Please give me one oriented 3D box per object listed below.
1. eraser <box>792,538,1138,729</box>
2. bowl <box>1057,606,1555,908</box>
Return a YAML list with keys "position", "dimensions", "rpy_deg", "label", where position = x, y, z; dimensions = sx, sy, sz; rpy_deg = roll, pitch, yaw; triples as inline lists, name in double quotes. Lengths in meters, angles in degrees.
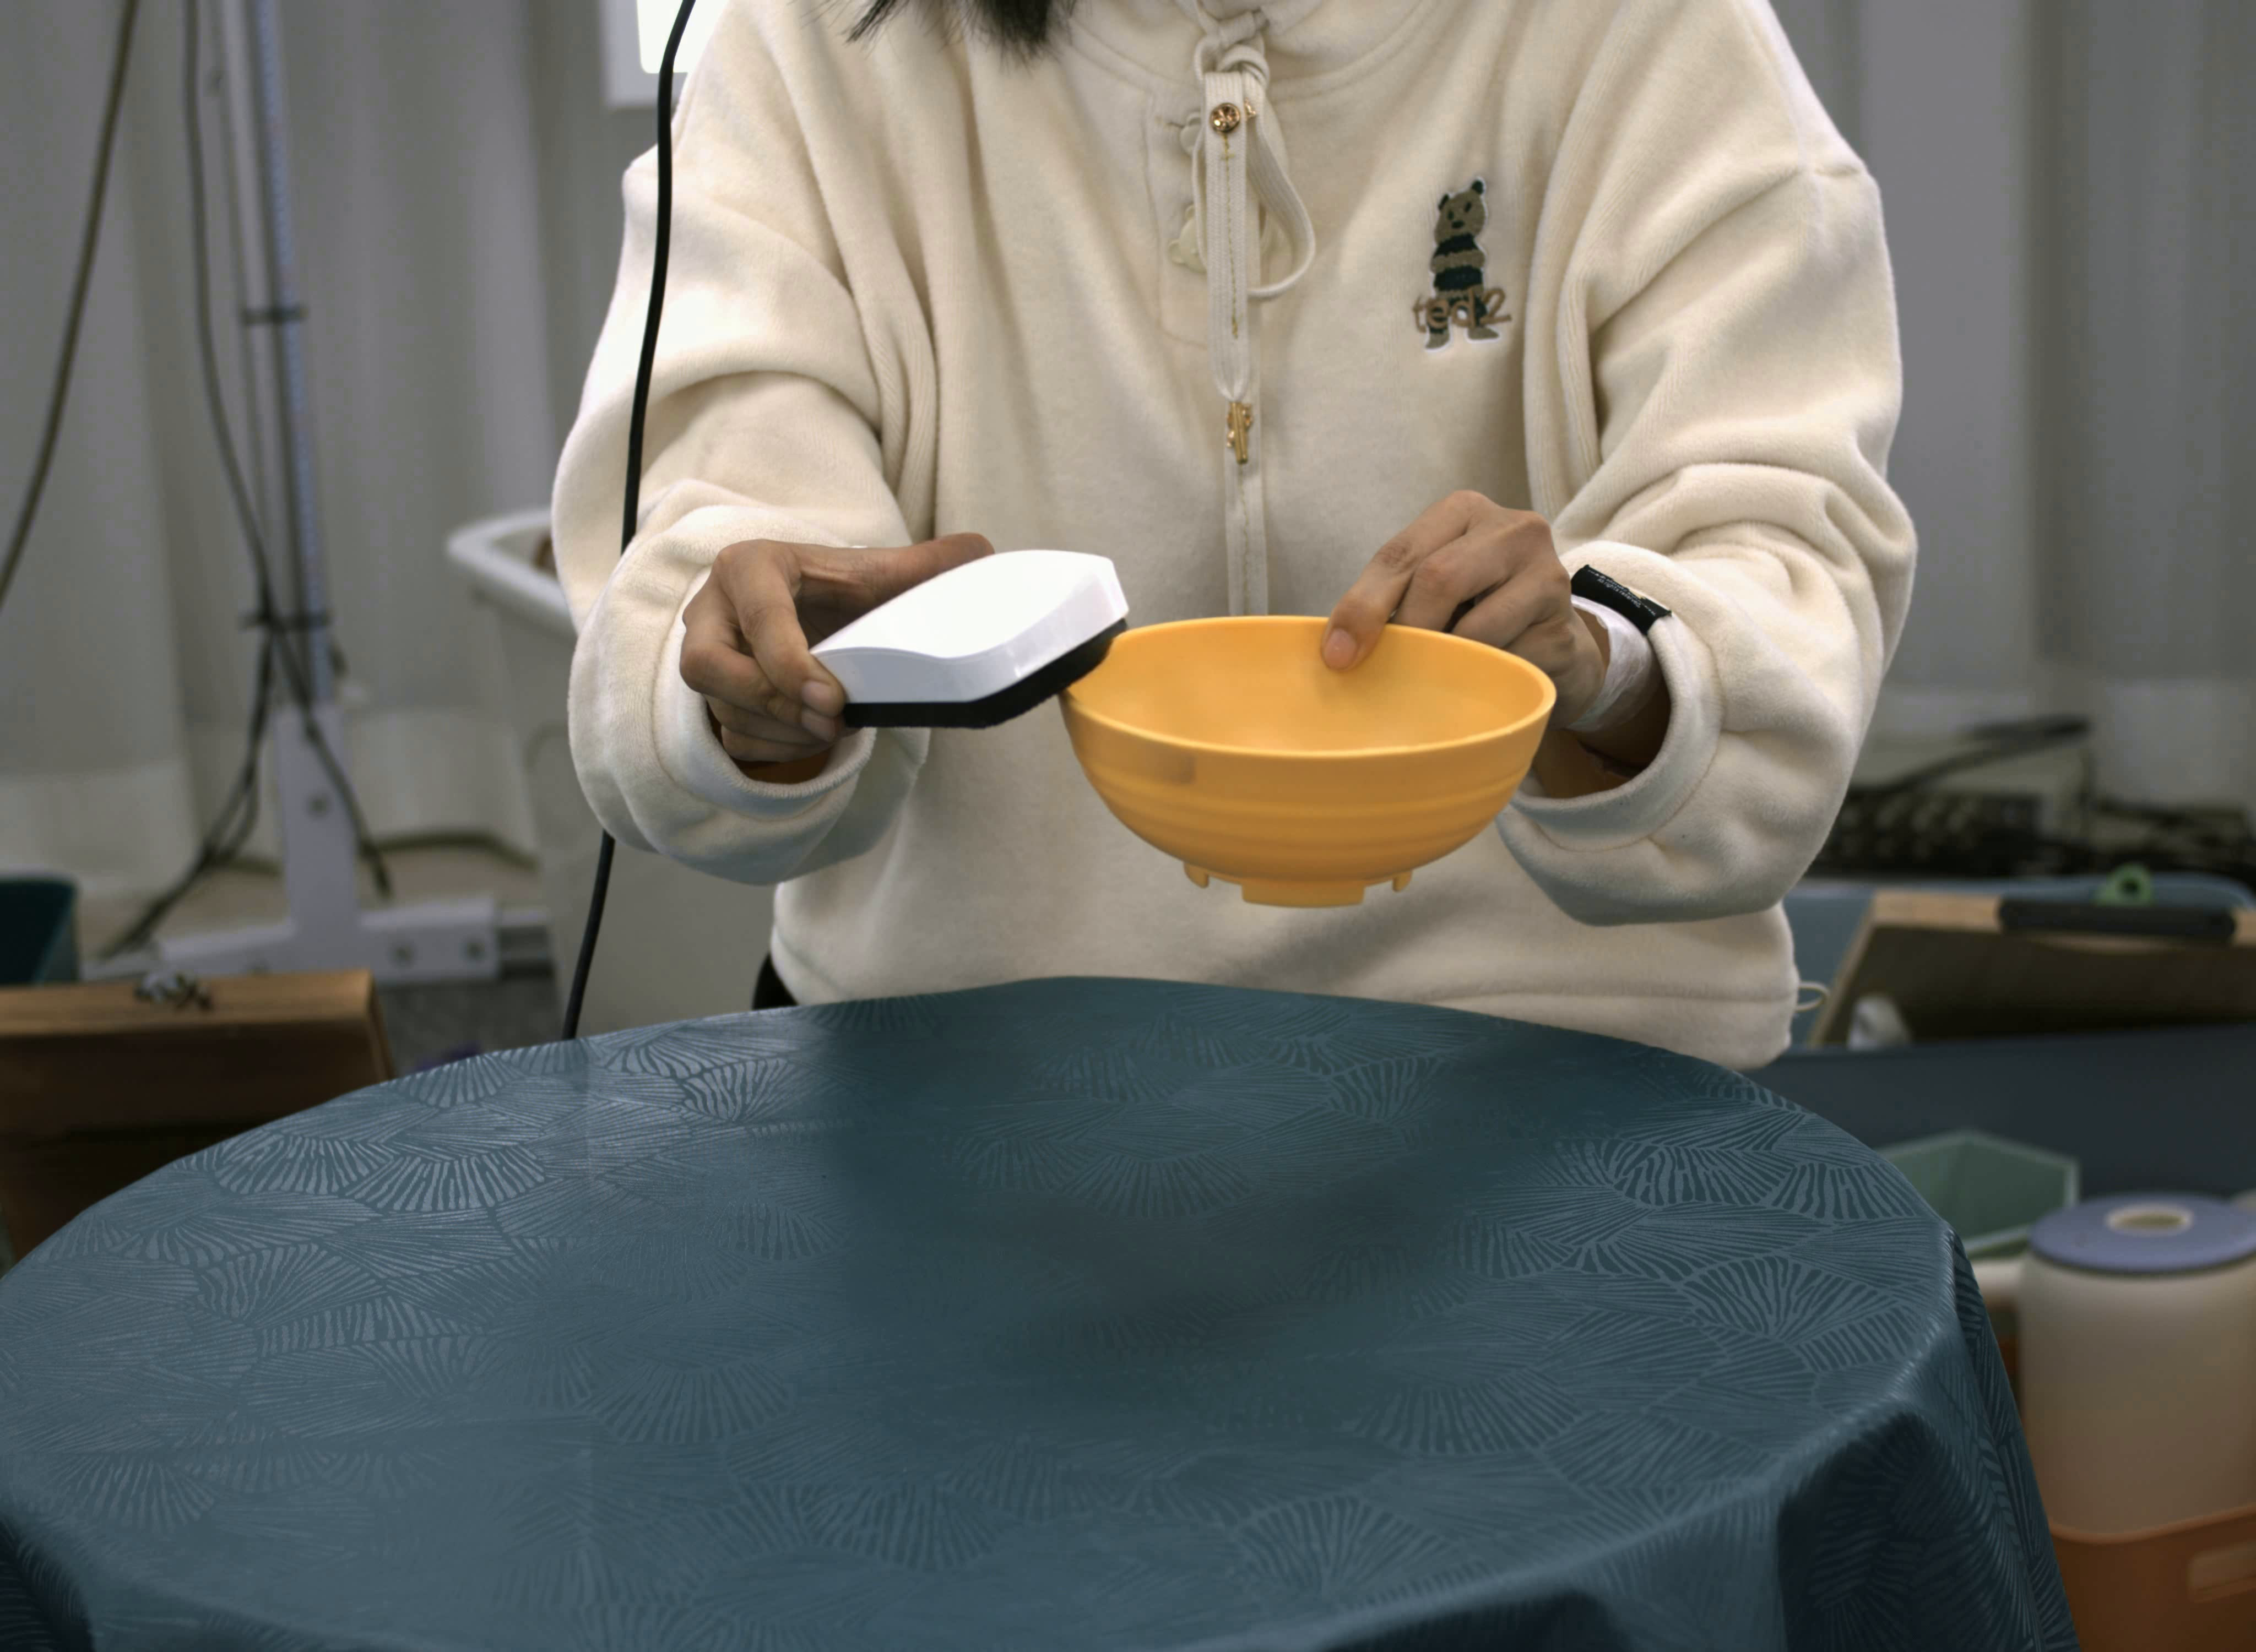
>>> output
- position: [-0.047, -0.055, 1.597]
  dimensions: [0.063, 0.034, 0.132]
  rpy_deg: [-30, 14, -23]
  label: "eraser"
- position: [0.050, -0.015, 1.581]
  dimensions: [0.145, 0.060, 0.146]
  rpy_deg: [1, 19, -1]
  label: "bowl"
